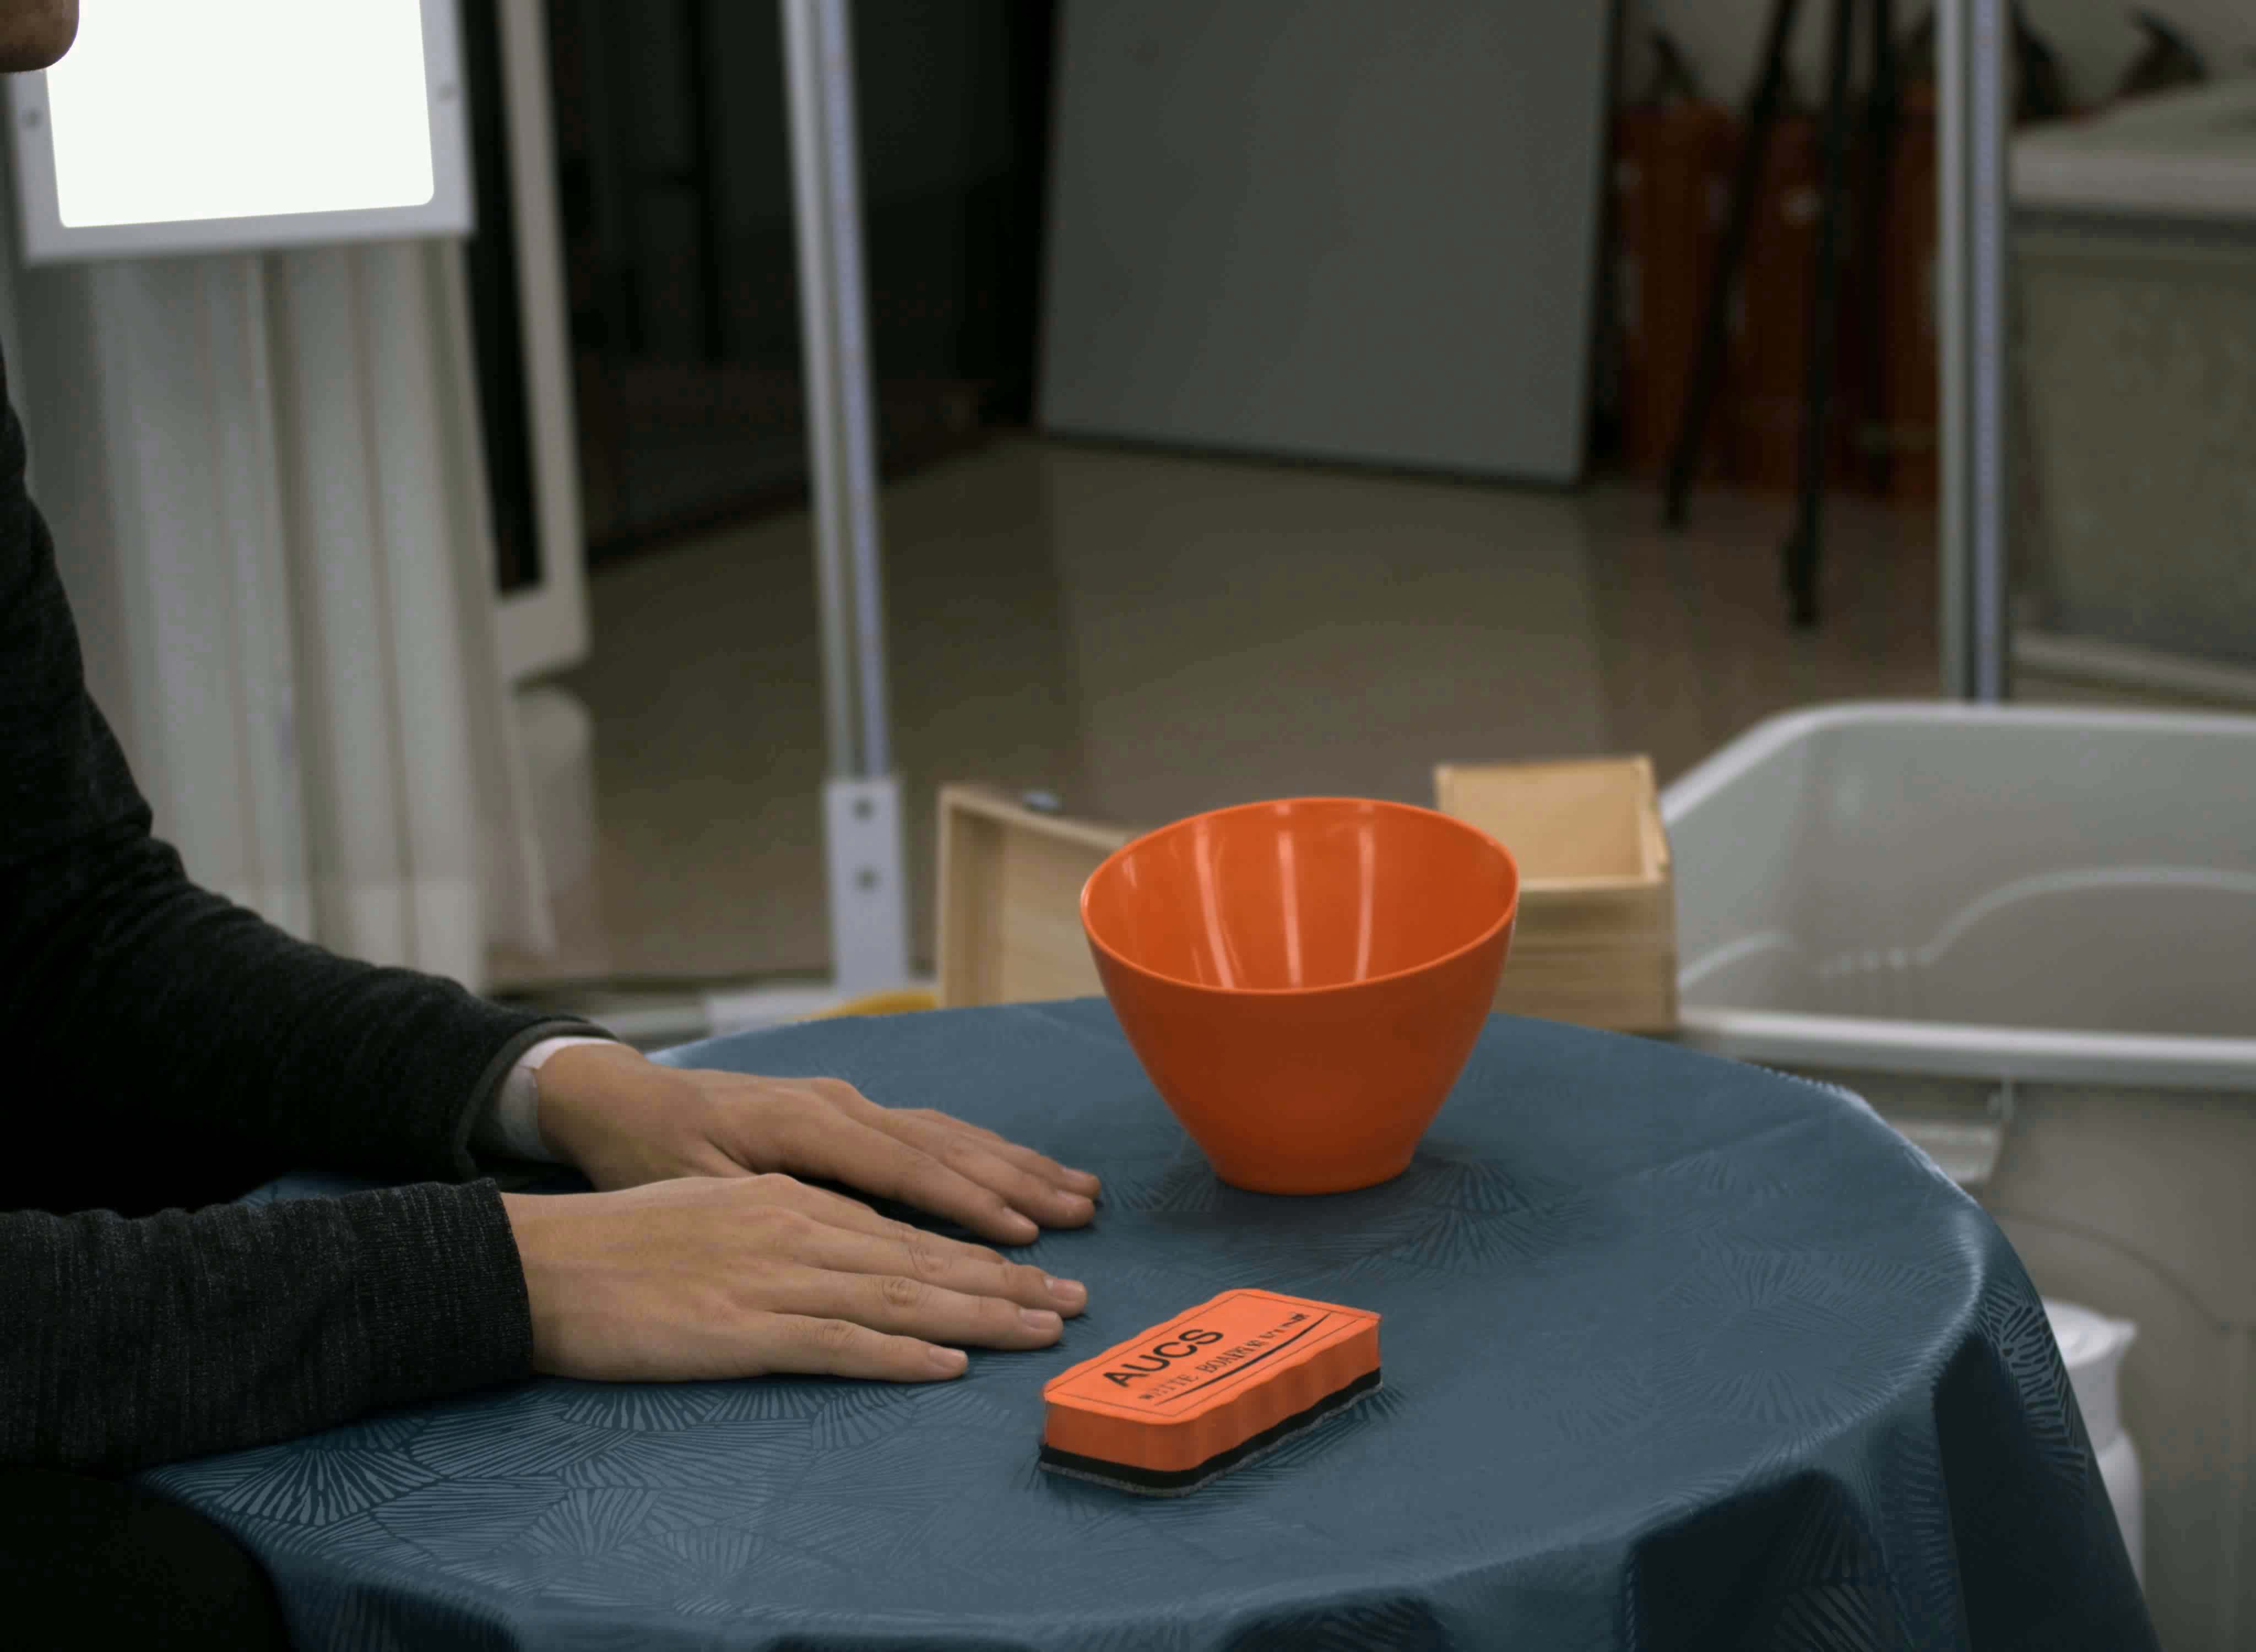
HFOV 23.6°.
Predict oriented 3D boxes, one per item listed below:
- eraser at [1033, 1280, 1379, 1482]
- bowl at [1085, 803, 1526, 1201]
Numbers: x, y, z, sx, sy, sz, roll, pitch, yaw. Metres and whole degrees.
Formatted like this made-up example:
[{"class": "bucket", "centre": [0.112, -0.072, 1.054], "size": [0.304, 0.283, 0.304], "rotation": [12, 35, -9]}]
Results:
[{"class": "eraser", "centre": [0.023, 0.158, 1.548], "size": [0.059, 0.023, 0.106], "rotation": [8, 17, 36]}, {"class": "bowl", "centre": [0.060, 0.061, 1.782], "size": [0.146, 0.106, 0.148], "rotation": [-3, 14, 0]}]
